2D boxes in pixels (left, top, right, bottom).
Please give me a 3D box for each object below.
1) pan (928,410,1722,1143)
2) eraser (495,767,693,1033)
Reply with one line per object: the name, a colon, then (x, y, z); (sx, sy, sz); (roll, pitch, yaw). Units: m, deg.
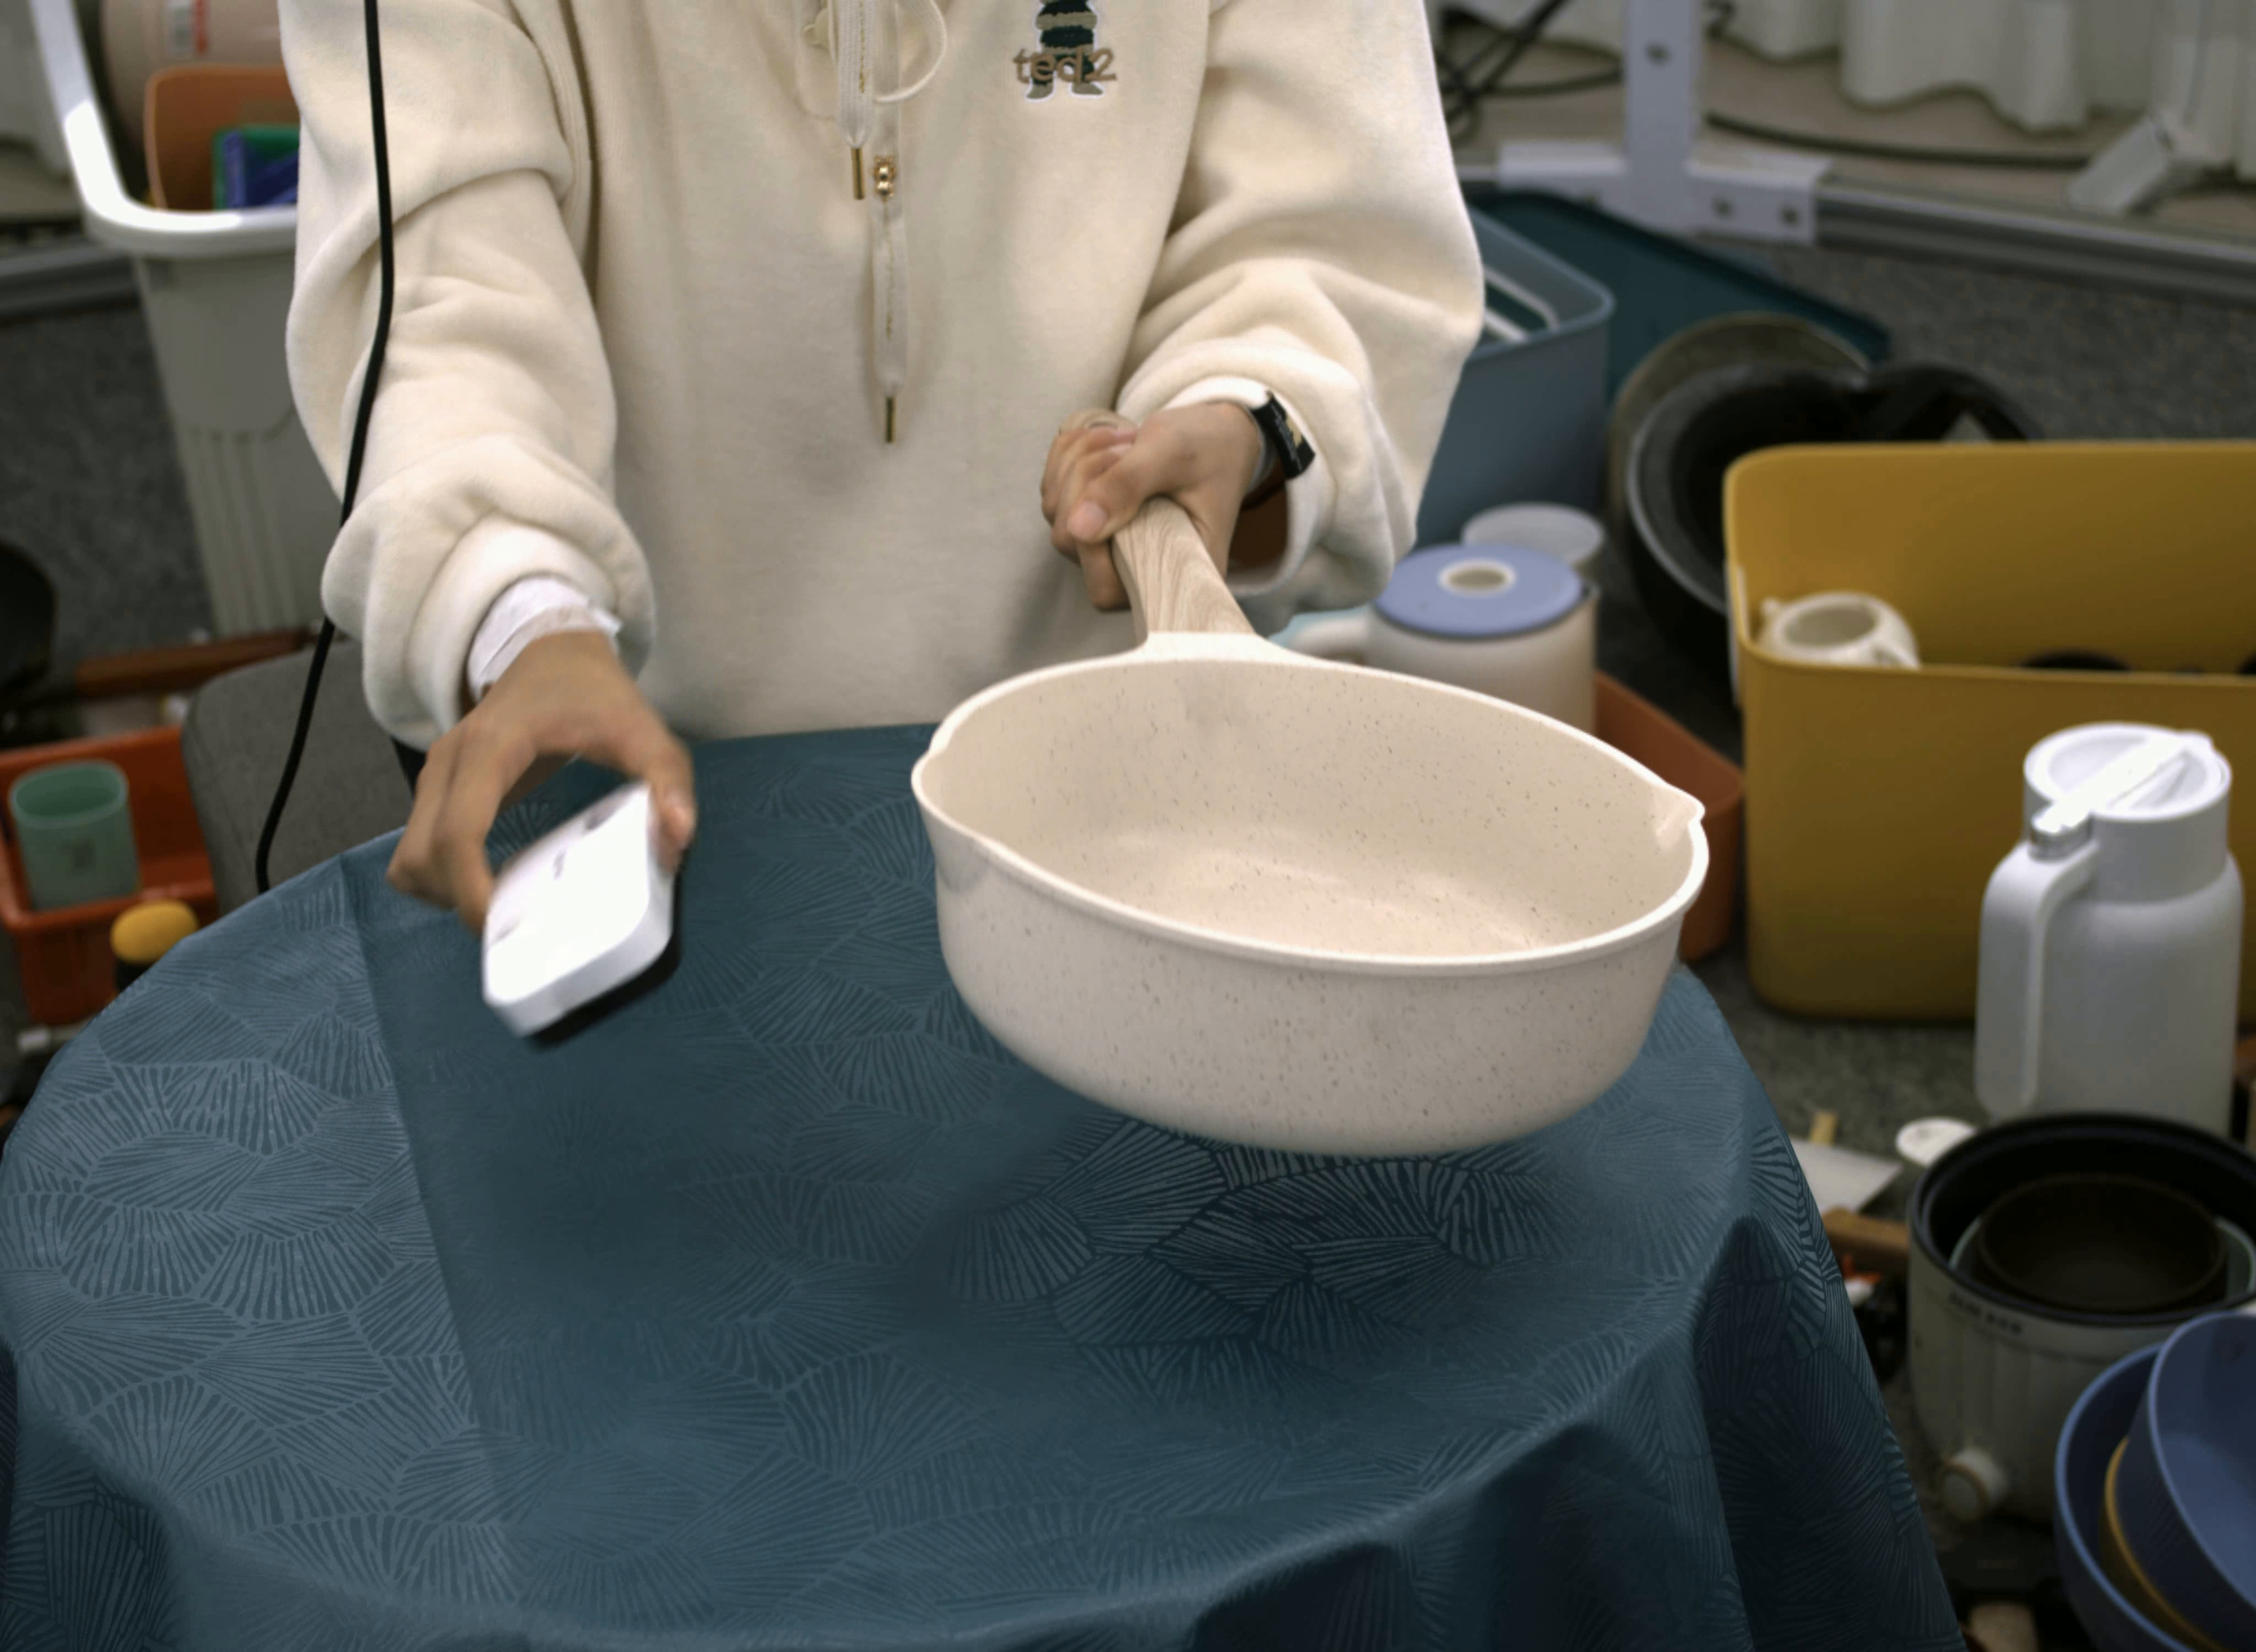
pan: (0.037, -0.020, 1.886); (0.263, 0.101, 0.439); (0, 23, -16)
eraser: (-0.171, 0.021, 1.822); (0.063, 0.034, 0.133); (-29, 20, 7)
